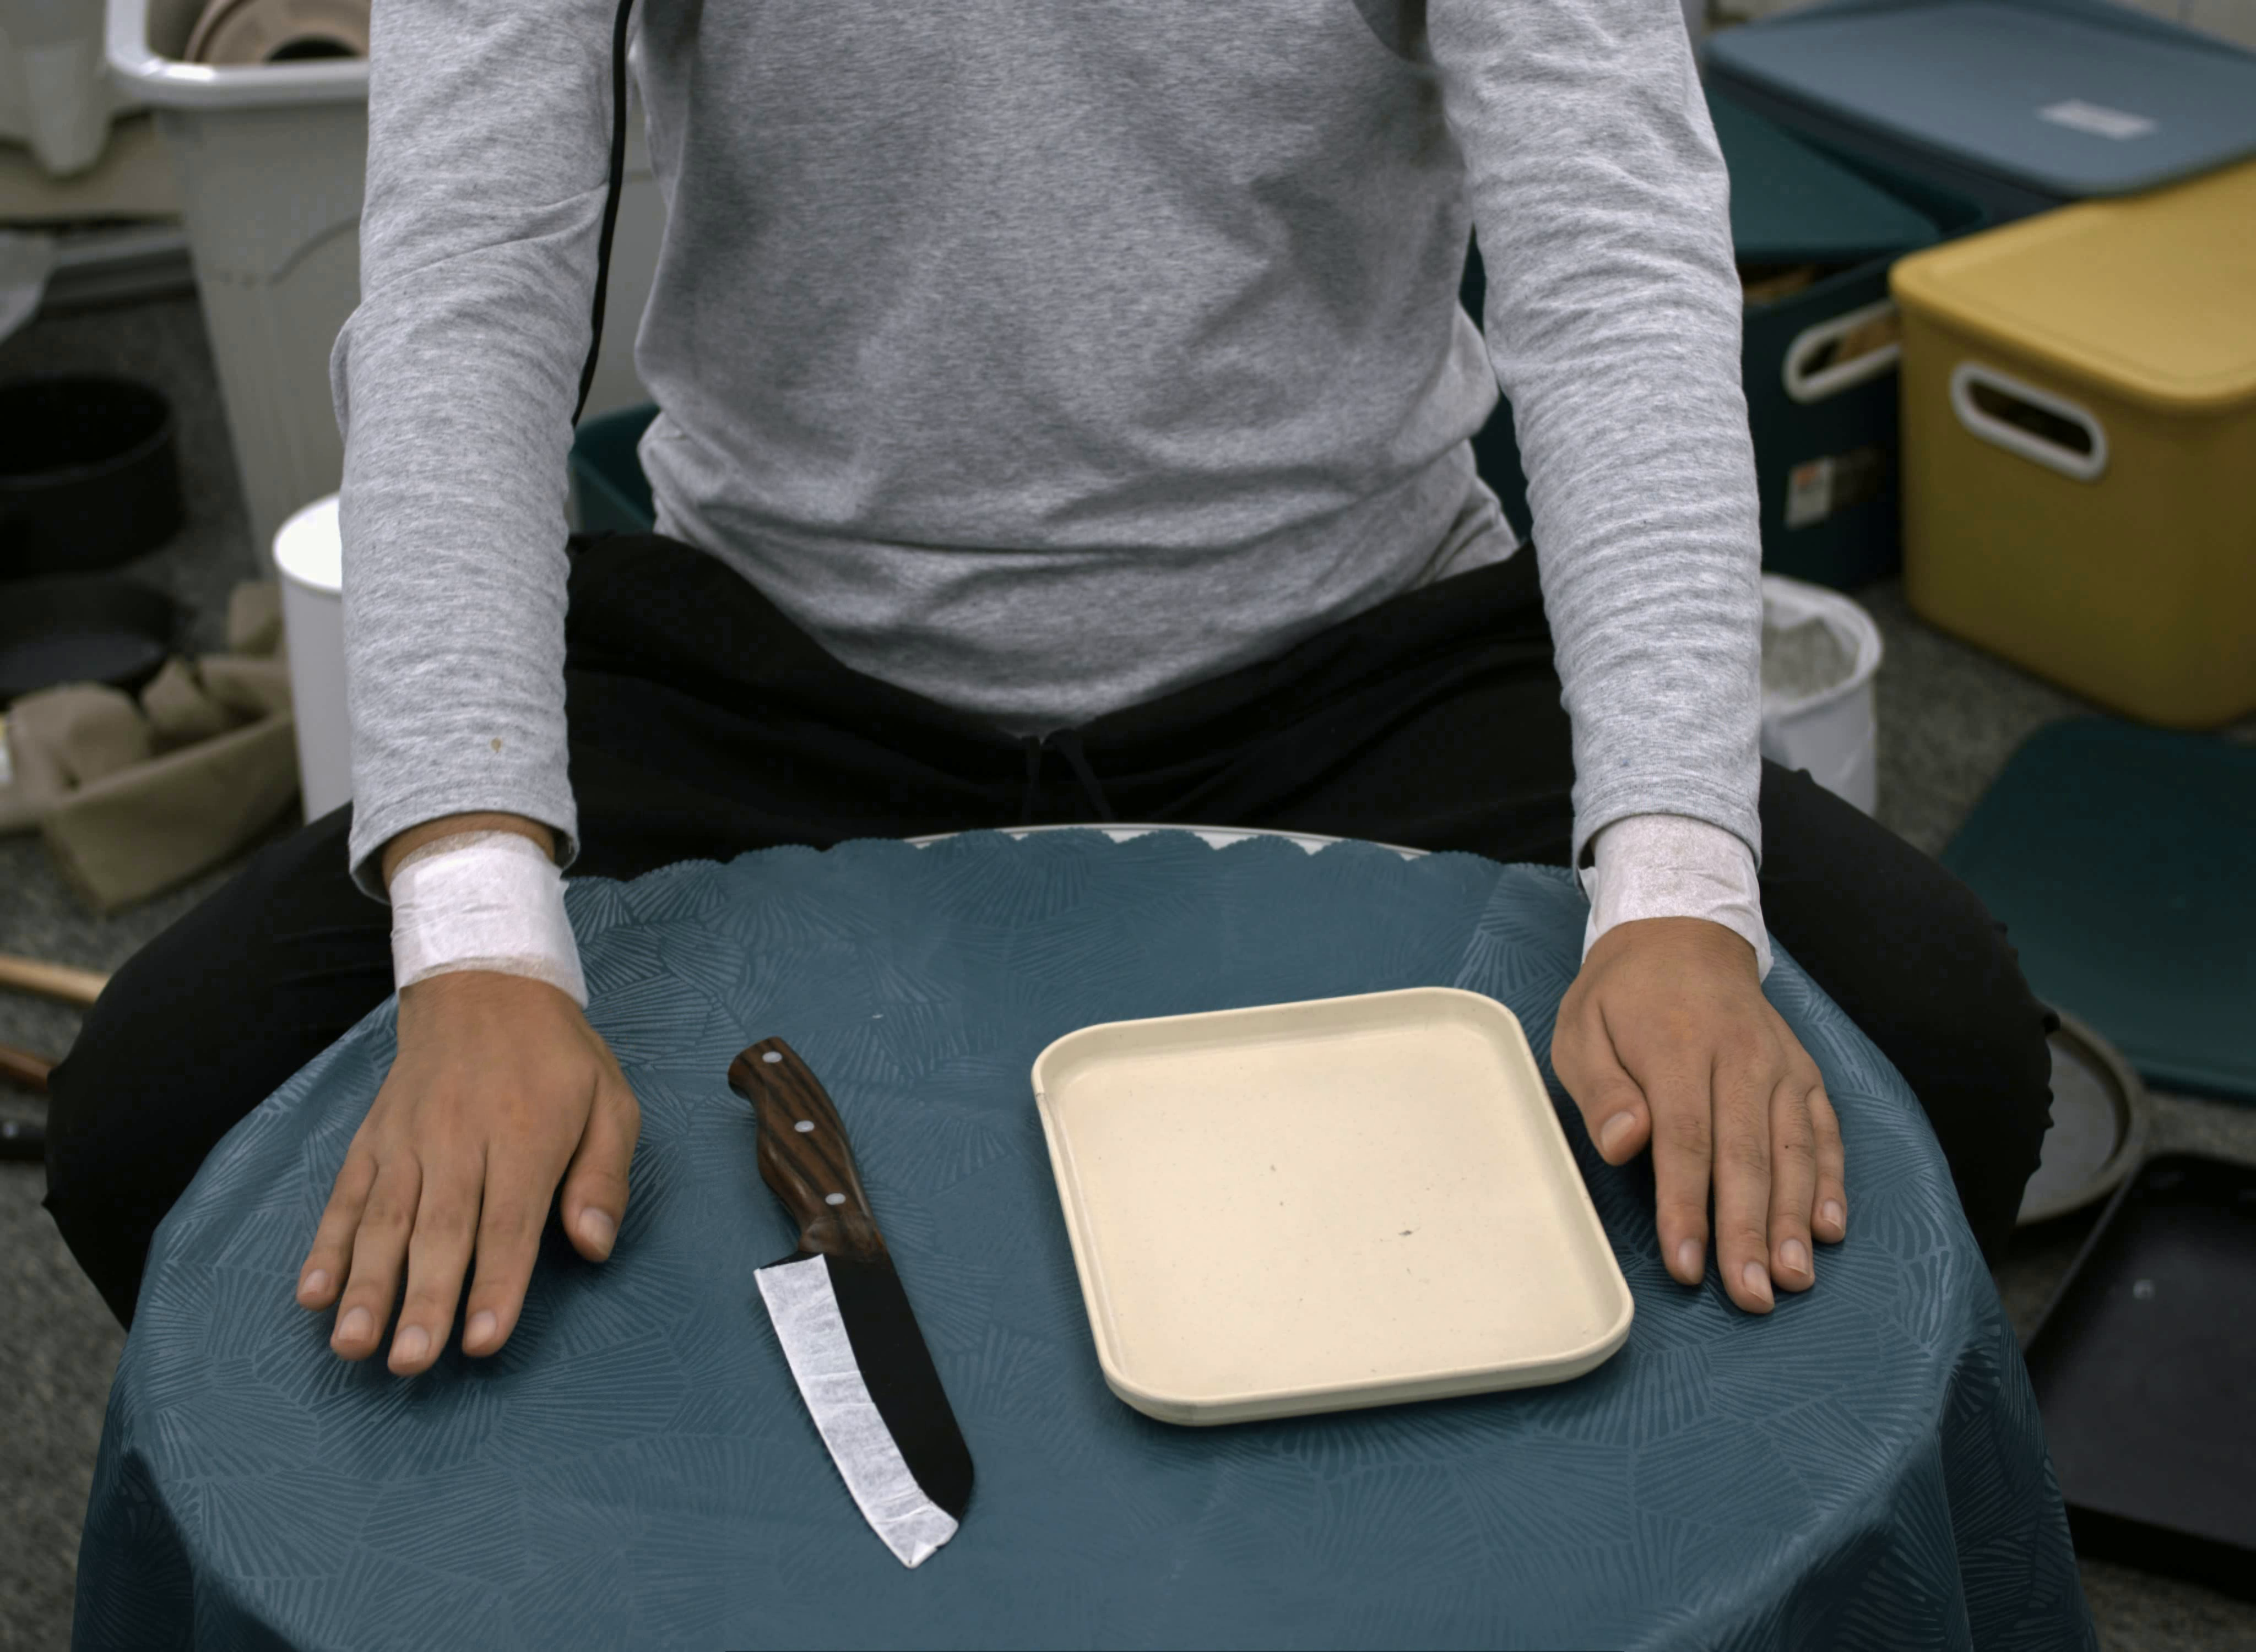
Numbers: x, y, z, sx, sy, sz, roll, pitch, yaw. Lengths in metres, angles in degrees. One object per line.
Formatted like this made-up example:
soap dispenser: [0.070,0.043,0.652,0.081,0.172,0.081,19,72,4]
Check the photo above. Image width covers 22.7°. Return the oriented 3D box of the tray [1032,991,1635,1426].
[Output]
tray: [0.063,0.123,1.834,0.171,0.017,0.243,-5,27,-6]

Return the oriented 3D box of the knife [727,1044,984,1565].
knife: [-0.092,0.151,1.797,0.050,0.020,0.292,-11,31,-9]
